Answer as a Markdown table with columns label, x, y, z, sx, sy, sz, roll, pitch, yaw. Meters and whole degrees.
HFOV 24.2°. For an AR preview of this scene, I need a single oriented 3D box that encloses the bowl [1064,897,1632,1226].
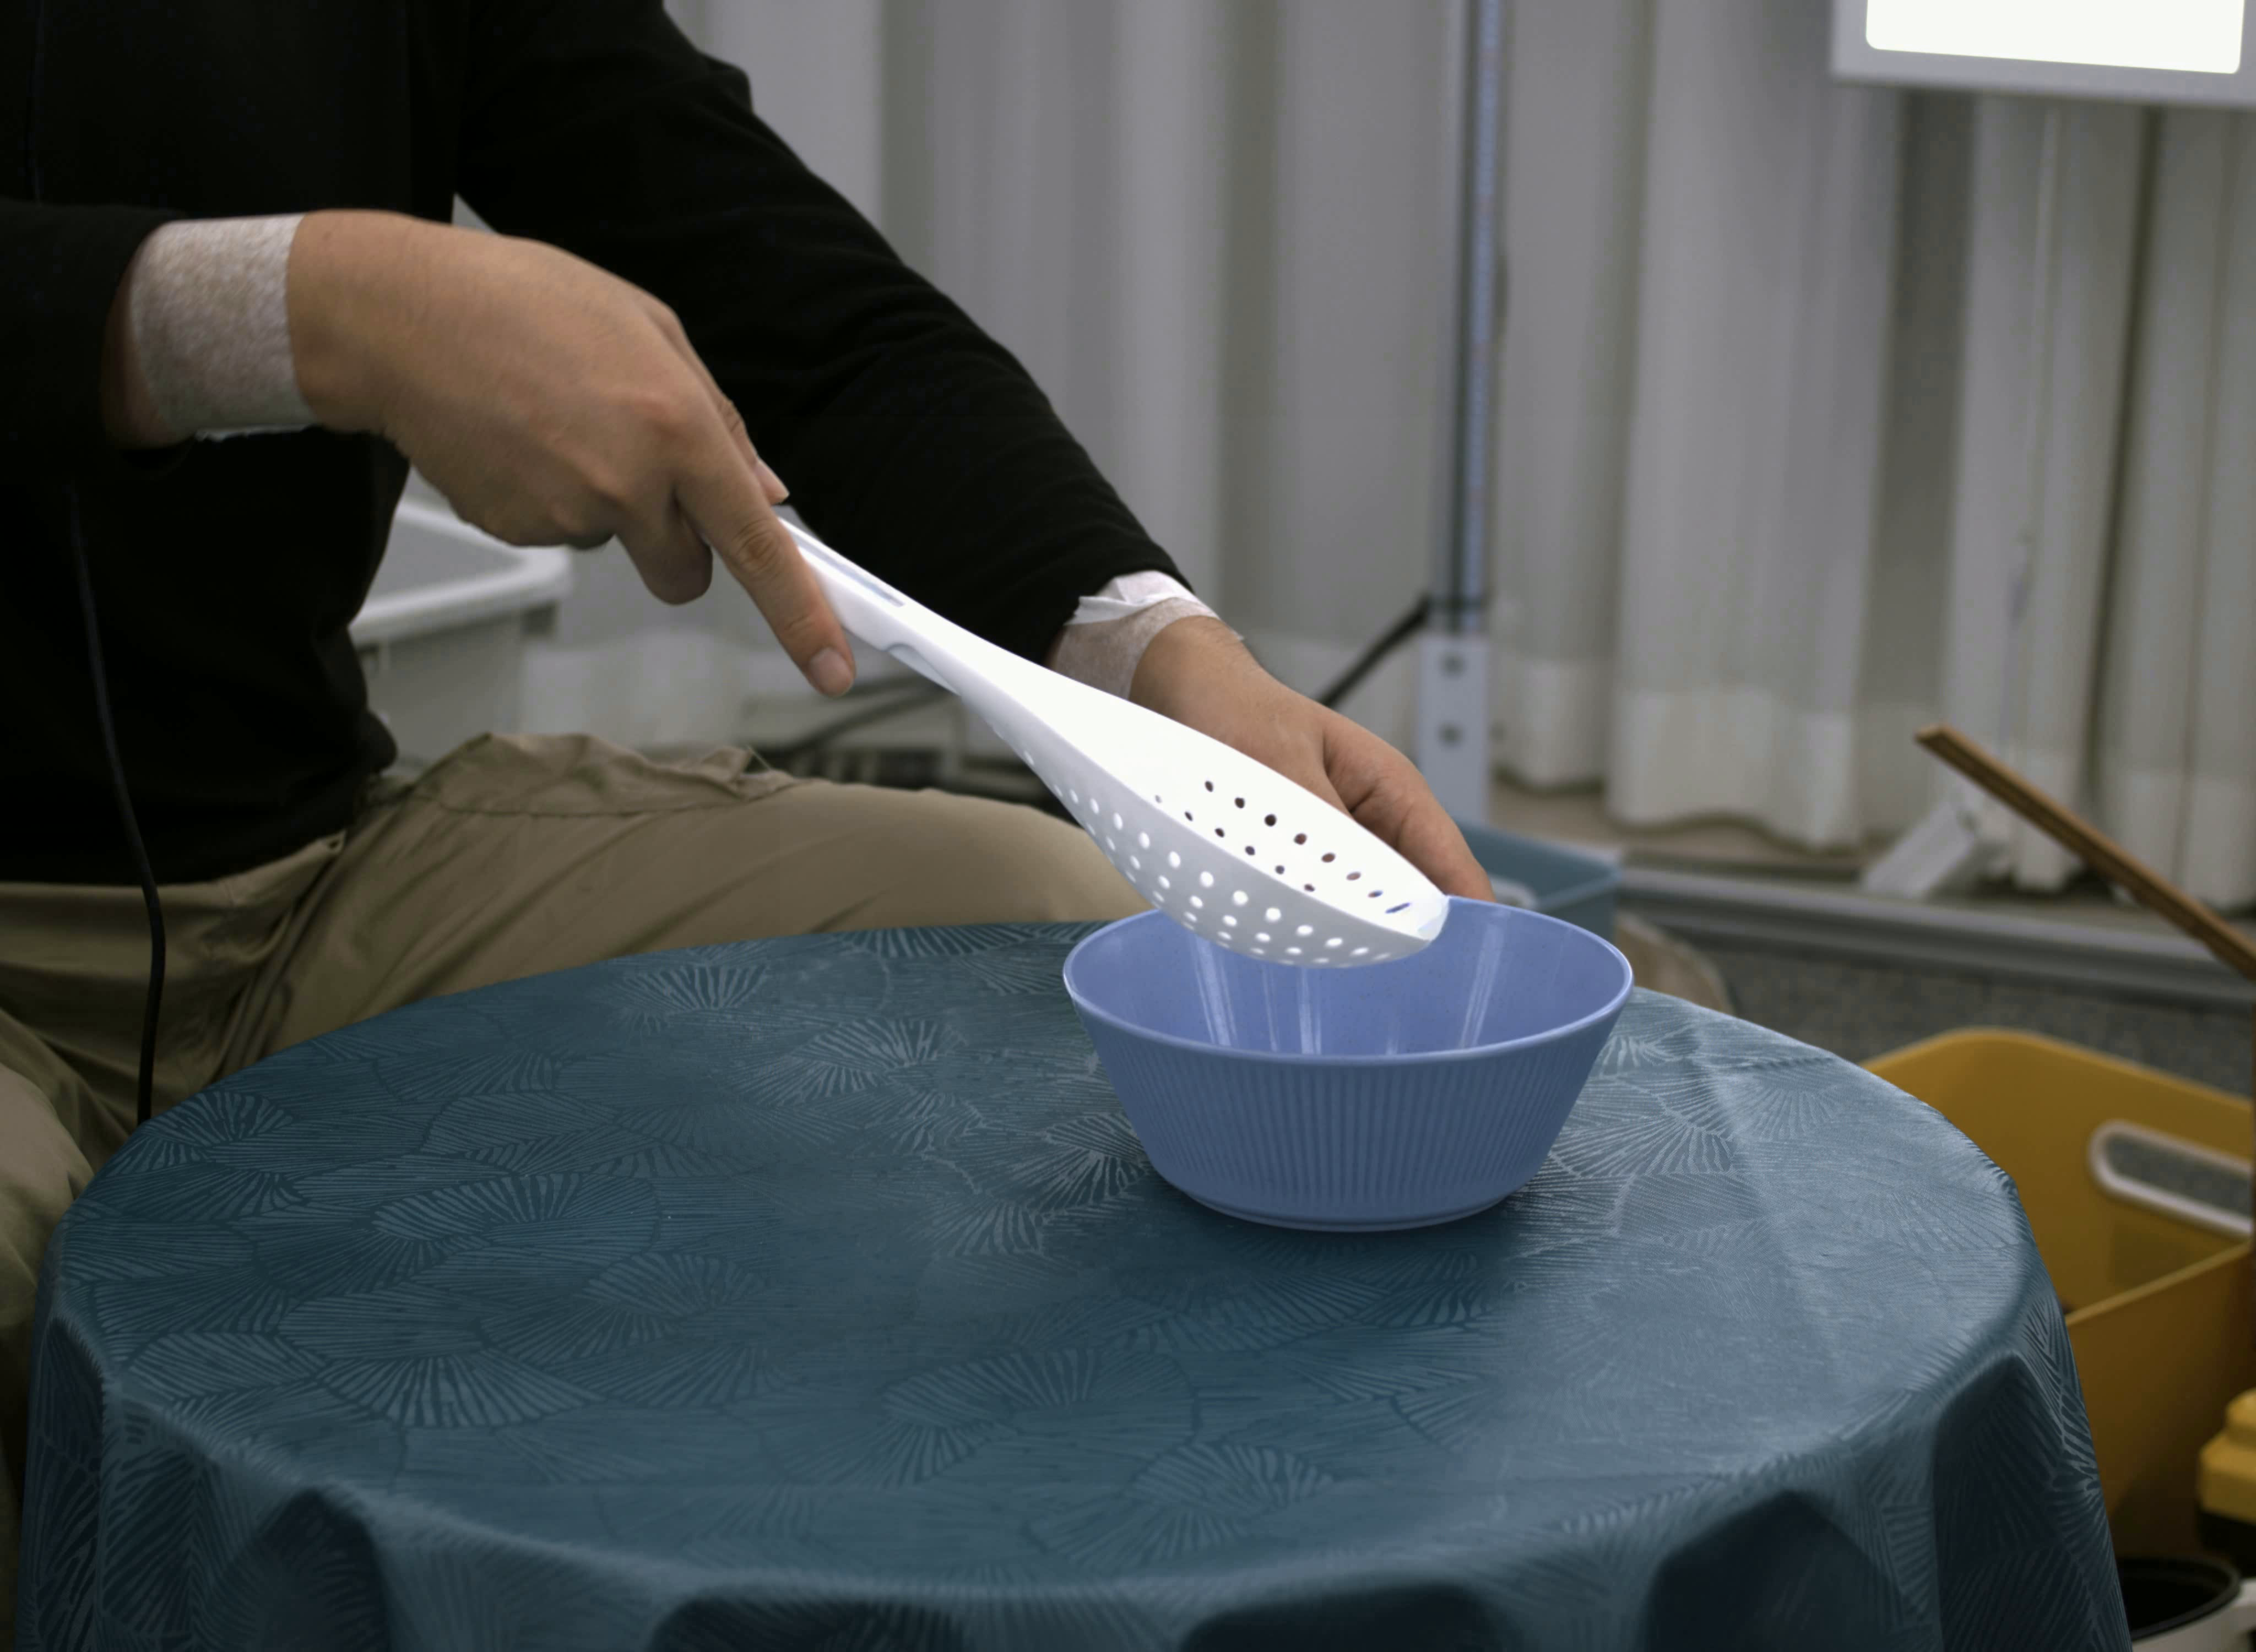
| label | x | y | z | sx | sy | sz | roll | pitch | yaw |
| --- | --- | --- | --- | --- | --- | --- | --- | --- | --- |
| bowl | 0.068 | 0.074 | 1.628 | 0.175 | 0.071 | 0.175 | 1 | 15 | 0 |

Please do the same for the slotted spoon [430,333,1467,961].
| label | x | y | z | sx | sy | sz | roll | pitch | yaw |
| --- | --- | --- | --- | --- | --- | --- | --- | --- | --- |
| slotted spoon | -0.056 | -0.054 | 1.559 | 0.349 | 0.046 | 0.136 | 35 | 13 | 3 |
